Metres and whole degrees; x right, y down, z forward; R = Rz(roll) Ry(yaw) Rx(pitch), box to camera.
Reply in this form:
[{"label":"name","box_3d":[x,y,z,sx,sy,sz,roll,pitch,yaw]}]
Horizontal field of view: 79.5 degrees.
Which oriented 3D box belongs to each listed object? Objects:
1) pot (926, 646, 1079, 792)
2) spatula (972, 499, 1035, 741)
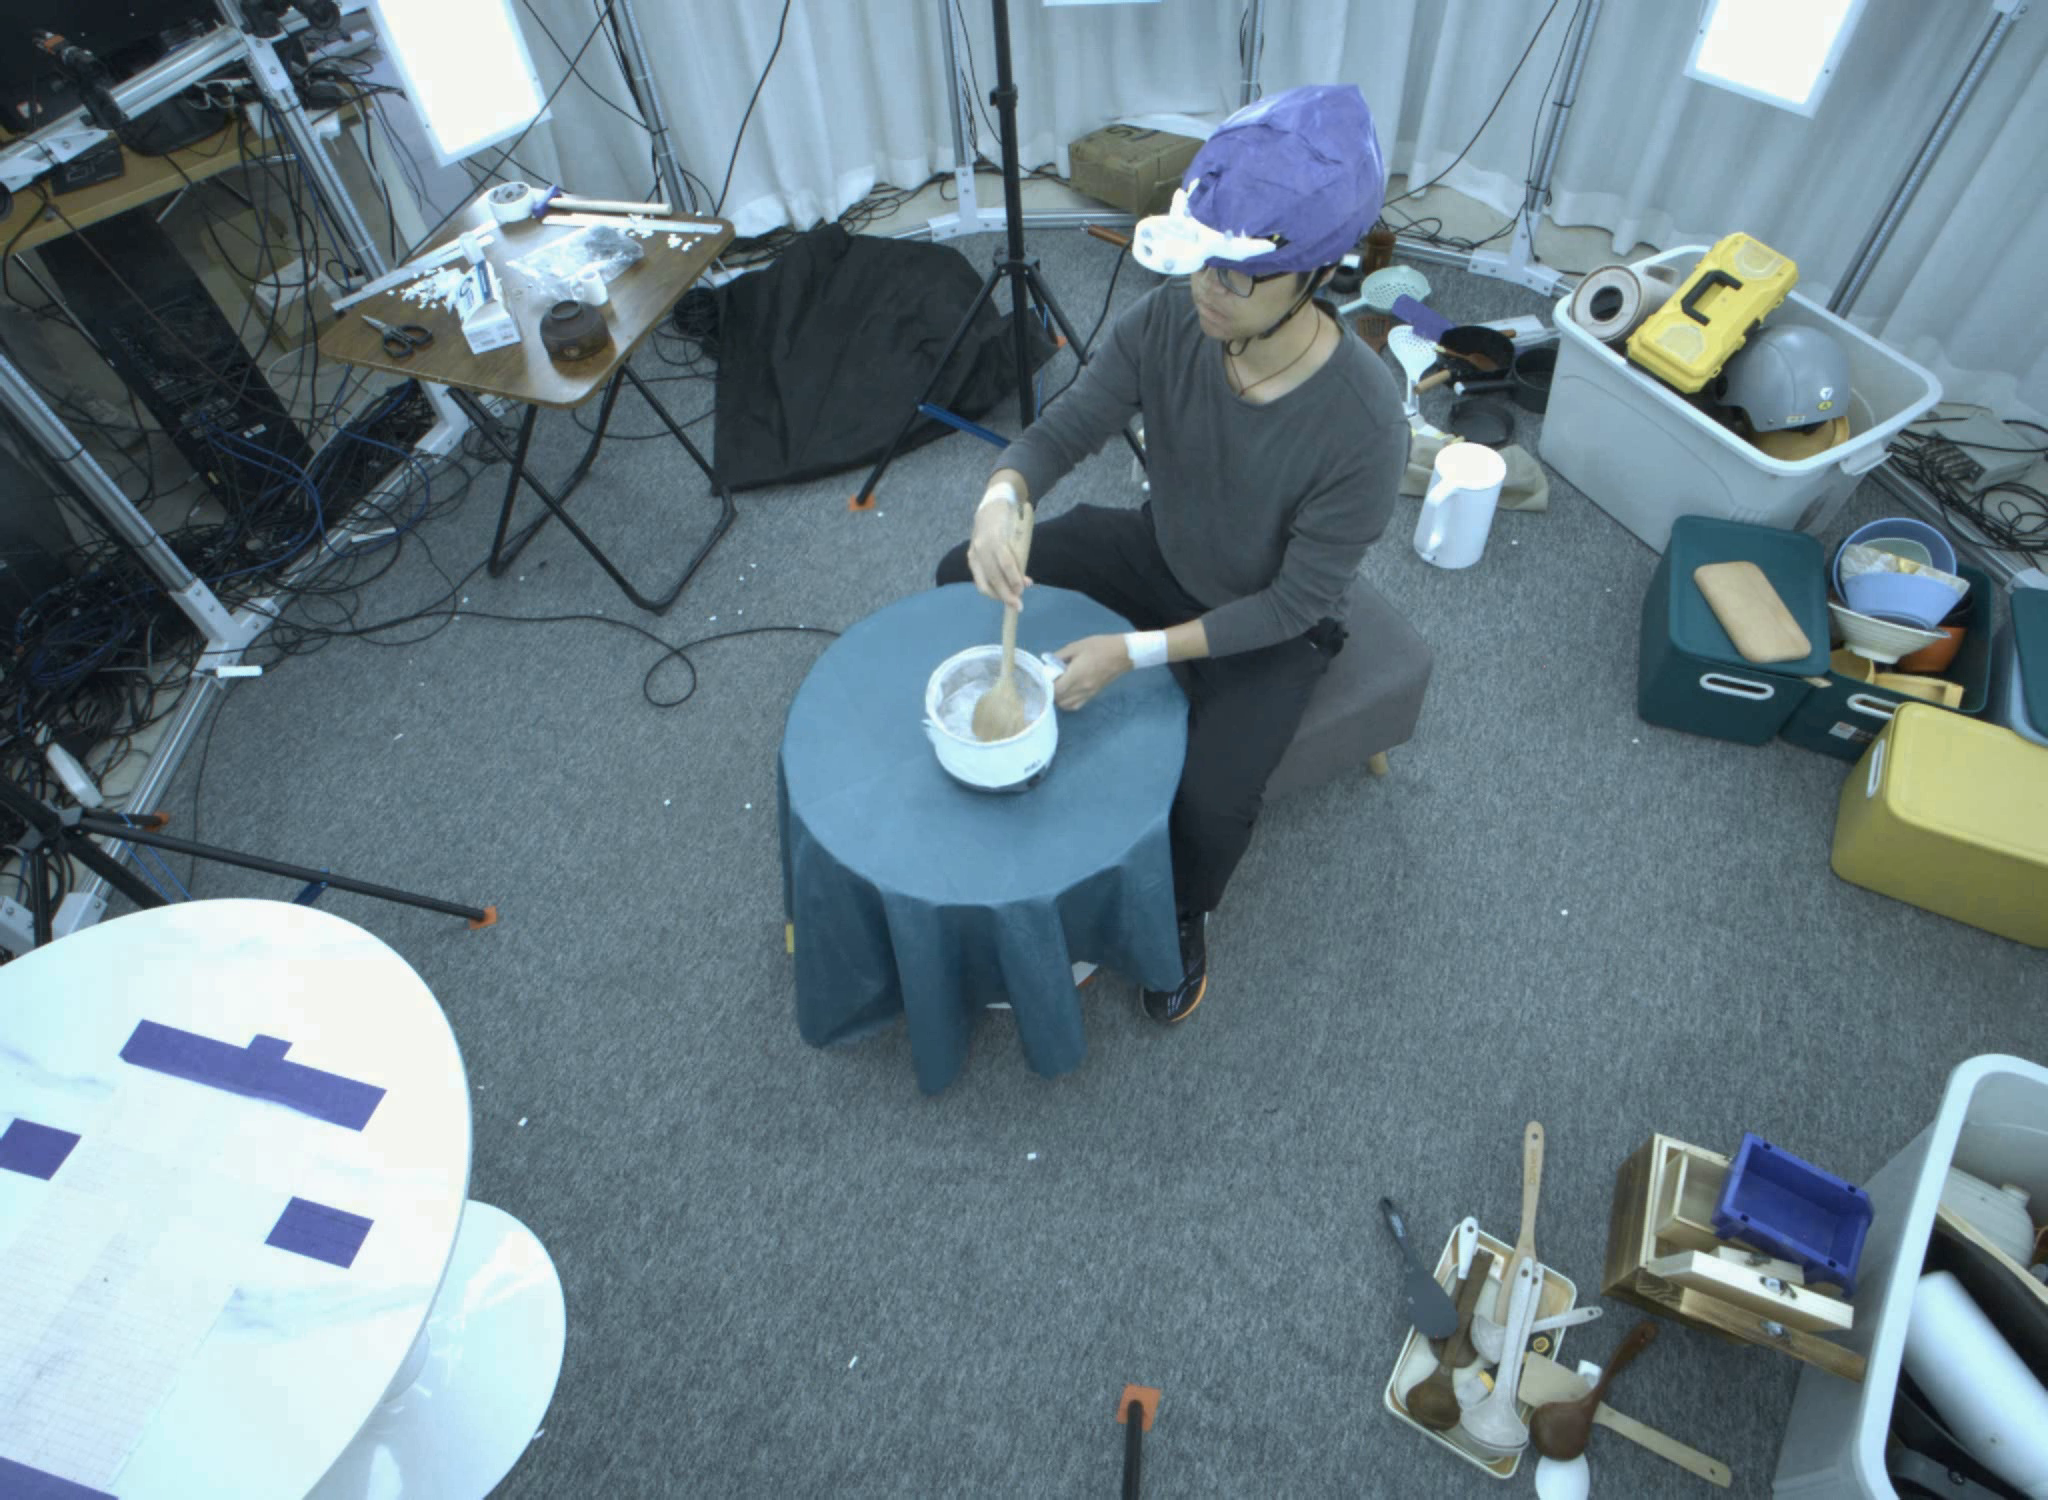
[{"label":"pot","box_3d":[-0.021,-0.054,1.751,0.235,0.138,0.175,-34,60,-21]},{"label":"spatula","box_3d":[-0.020,-0.155,1.606,0.094,0.394,0.018,31,46,26]}]
